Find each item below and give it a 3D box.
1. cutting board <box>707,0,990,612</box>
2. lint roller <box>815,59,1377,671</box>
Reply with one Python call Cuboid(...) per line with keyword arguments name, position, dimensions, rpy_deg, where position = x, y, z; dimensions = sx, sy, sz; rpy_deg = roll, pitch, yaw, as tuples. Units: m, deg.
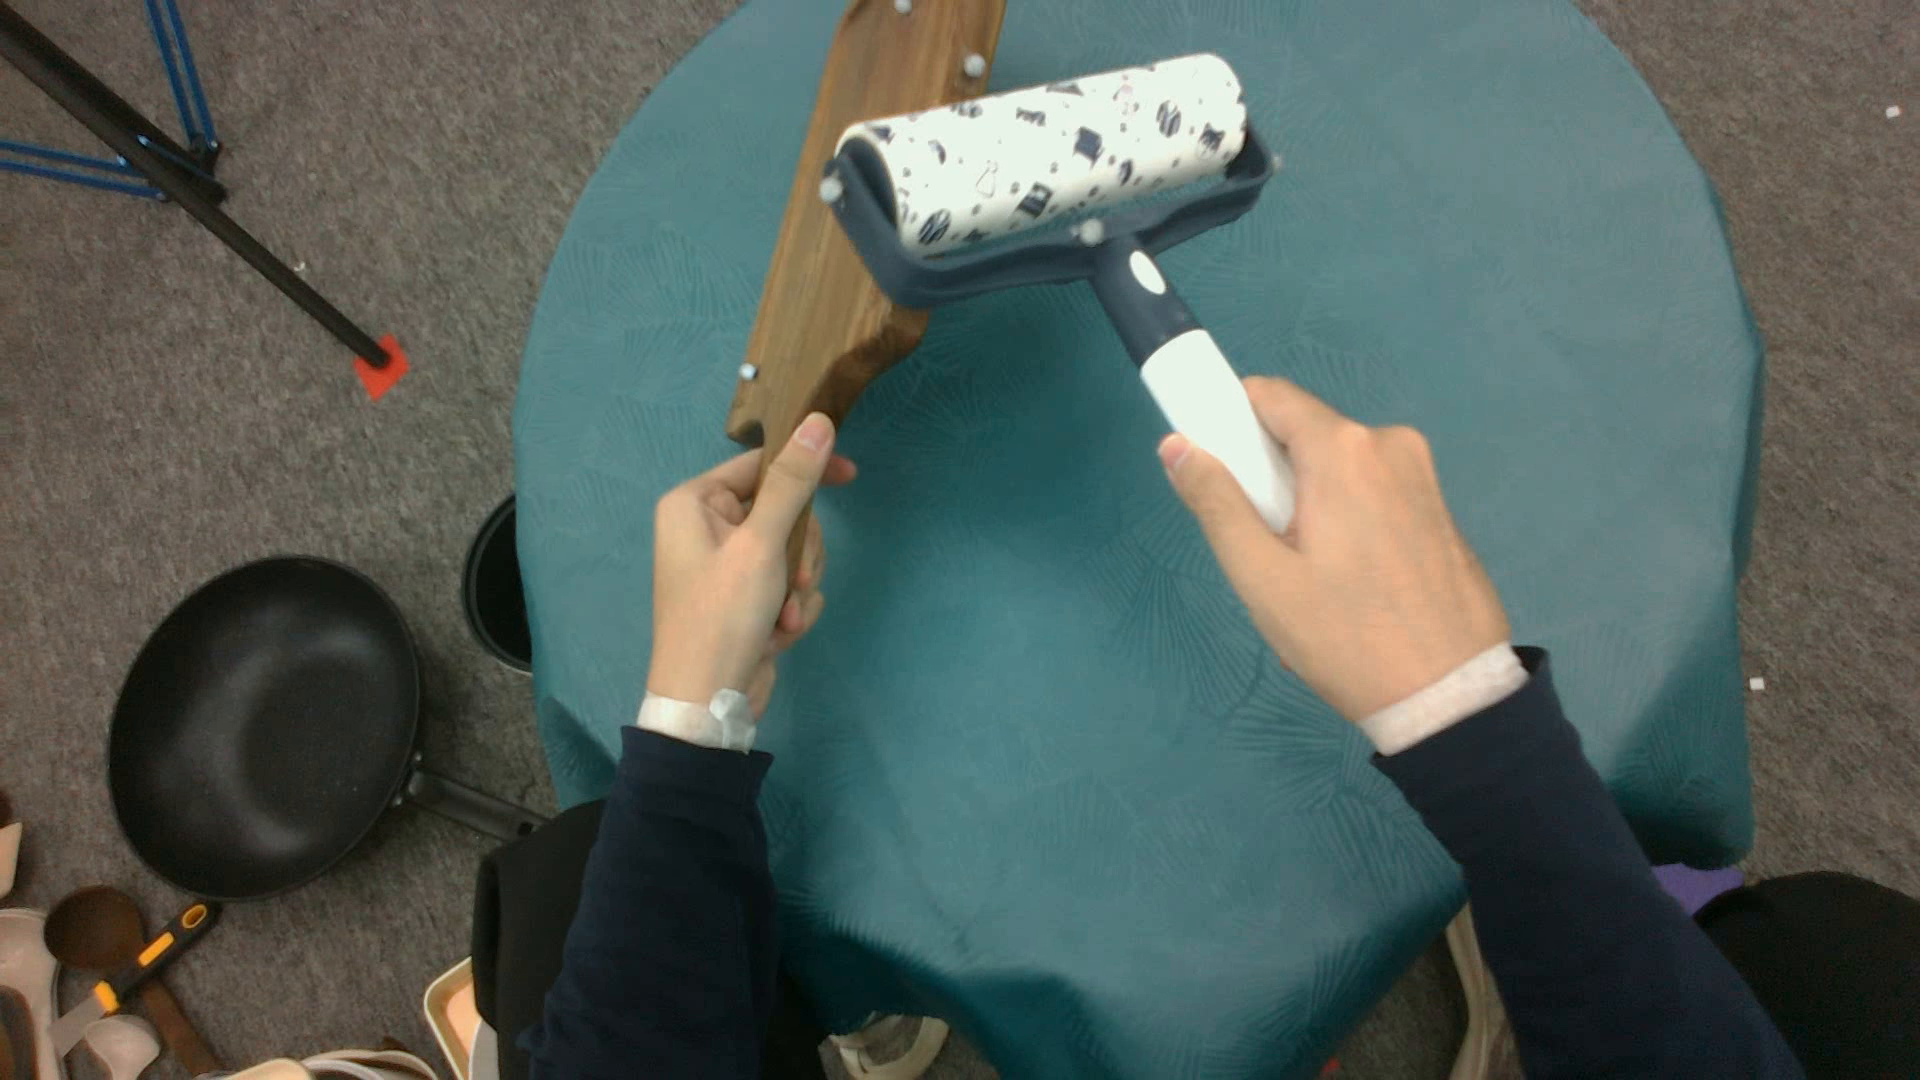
Cuboid(name="cutting board", position=(-0.058, -0.137, 0.626), dimensions=(0.023, 0.200, 0.353), rpy_deg=(21, 72, -24))
Cuboid(name="lint roller", position=(0.079, -0.066, 0.494), dimensions=(0.177, 0.050, 0.247), rpy_deg=(-22, 71, -30))
